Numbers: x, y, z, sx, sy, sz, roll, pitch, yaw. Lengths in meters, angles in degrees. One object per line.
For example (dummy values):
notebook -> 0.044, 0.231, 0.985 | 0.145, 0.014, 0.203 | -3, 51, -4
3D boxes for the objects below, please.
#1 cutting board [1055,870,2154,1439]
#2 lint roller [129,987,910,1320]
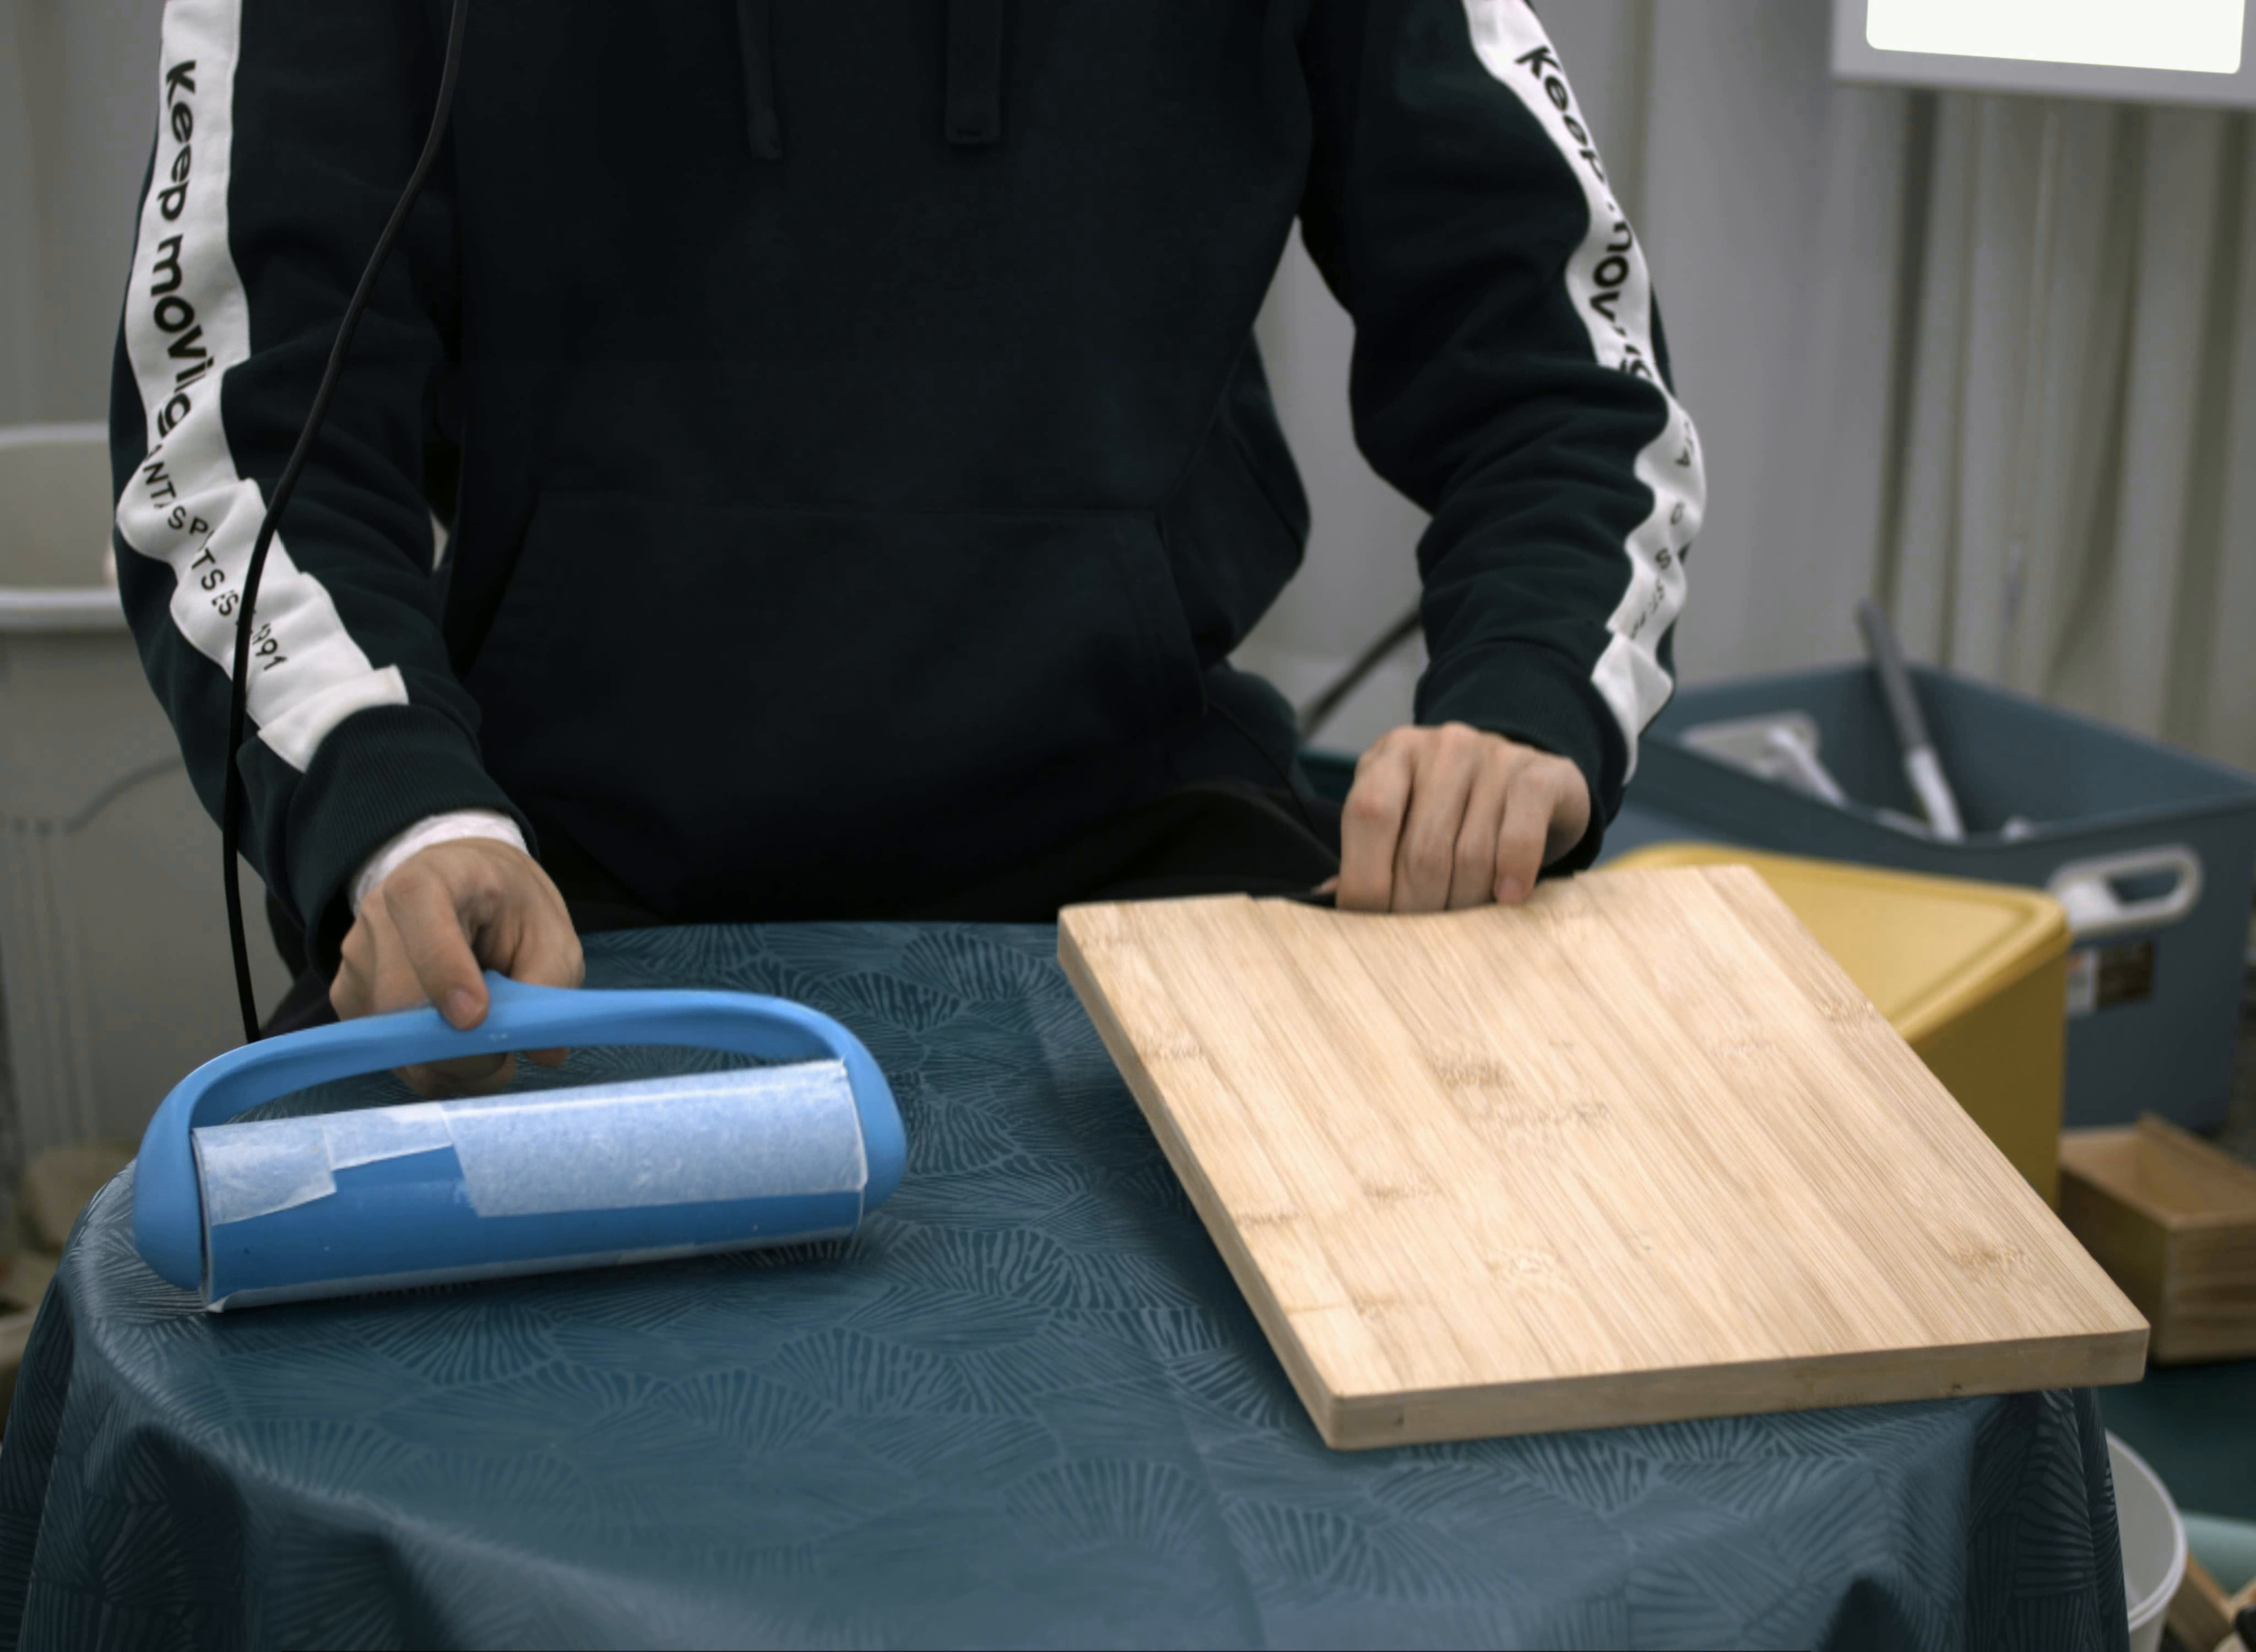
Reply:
cutting board -> 0.131, 0.092, 1.598 | 0.251, 0.024, 0.345 | -3, 22, -15
lint roller -> -0.194, 0.081, 1.583 | 0.229, 0.068, 0.178 | -7, 27, -17
